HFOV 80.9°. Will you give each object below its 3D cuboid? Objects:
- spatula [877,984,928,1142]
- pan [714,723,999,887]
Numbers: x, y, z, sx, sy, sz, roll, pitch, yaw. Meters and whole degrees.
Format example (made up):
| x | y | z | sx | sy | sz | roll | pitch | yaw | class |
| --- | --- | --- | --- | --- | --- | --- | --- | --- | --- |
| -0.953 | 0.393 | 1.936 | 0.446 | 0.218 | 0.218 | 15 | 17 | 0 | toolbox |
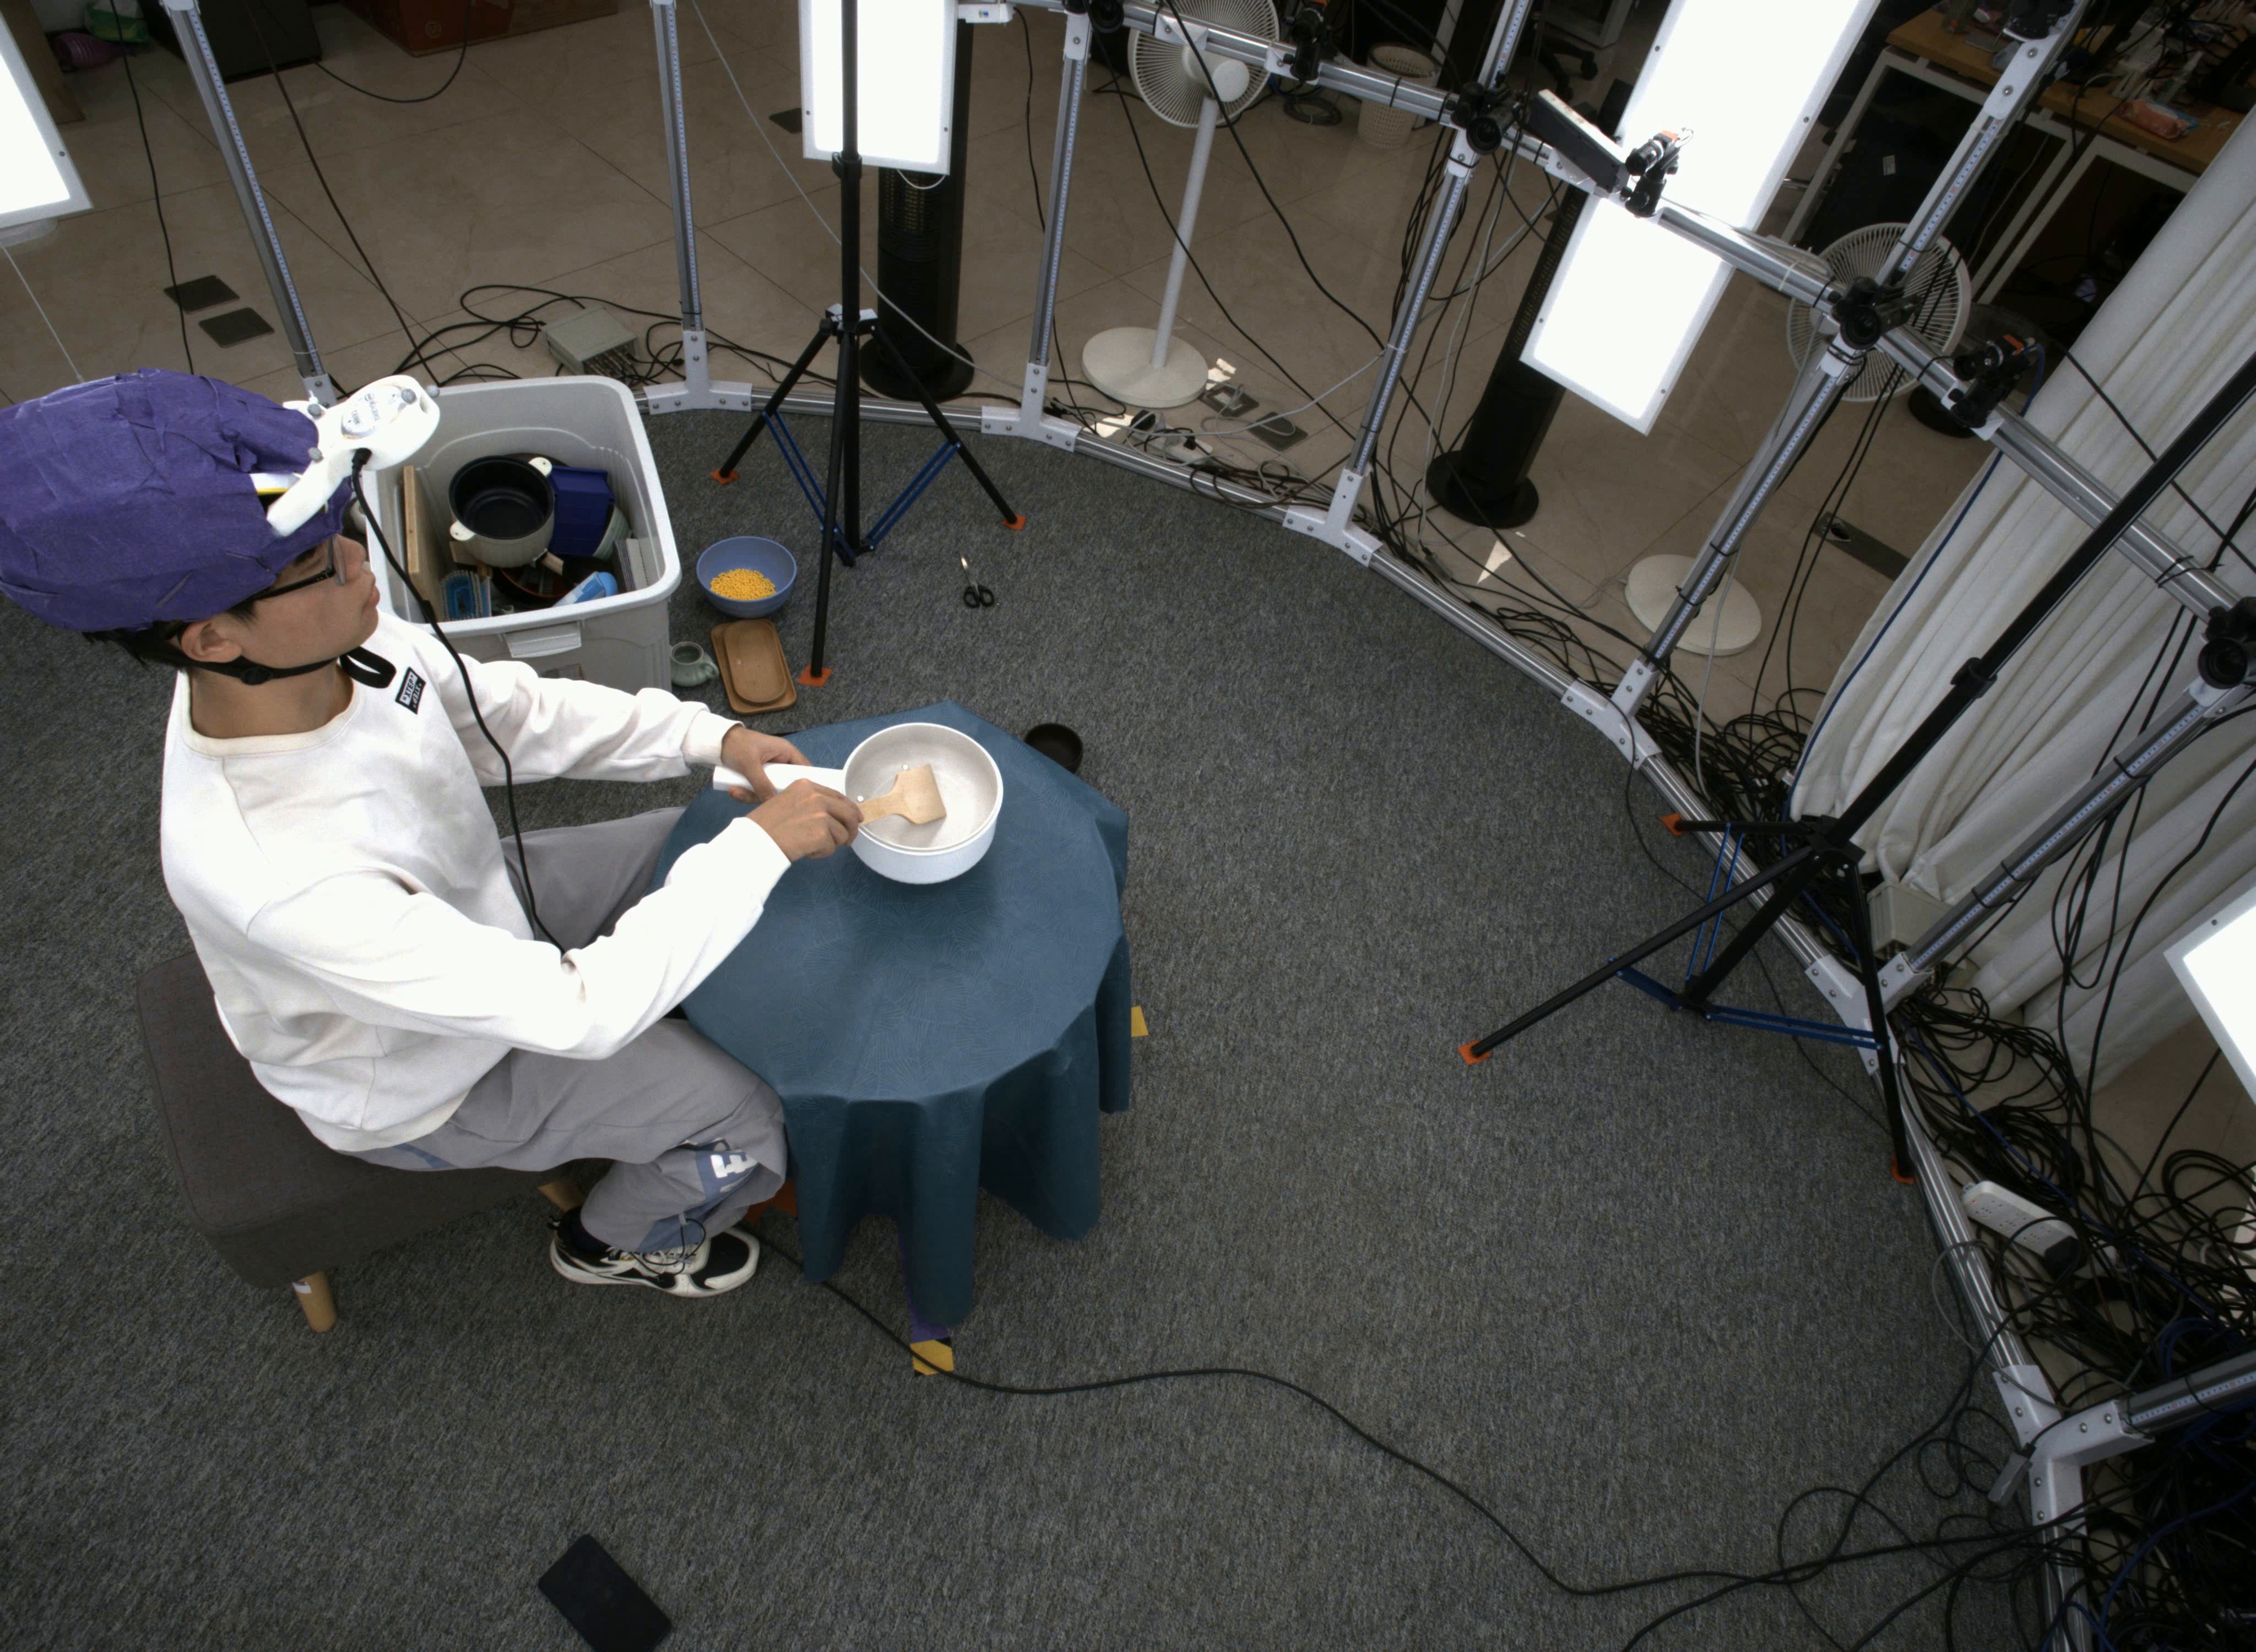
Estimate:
| x | y | z | sx | sy | sz | roll | pitch | yaw | class |
| --- | --- | --- | --- | --- | --- | --- | --- | --- | --- |
| -0.389 | 0.384 | 2.164 | 0.072 | 0.011 | 0.286 | -6 | 55 | -15 | spatula |
| -0.342 | -0.028 | 1.660 | 0.353 | 0.104 | 0.198 | 4 | 60 | -7 | pan |
